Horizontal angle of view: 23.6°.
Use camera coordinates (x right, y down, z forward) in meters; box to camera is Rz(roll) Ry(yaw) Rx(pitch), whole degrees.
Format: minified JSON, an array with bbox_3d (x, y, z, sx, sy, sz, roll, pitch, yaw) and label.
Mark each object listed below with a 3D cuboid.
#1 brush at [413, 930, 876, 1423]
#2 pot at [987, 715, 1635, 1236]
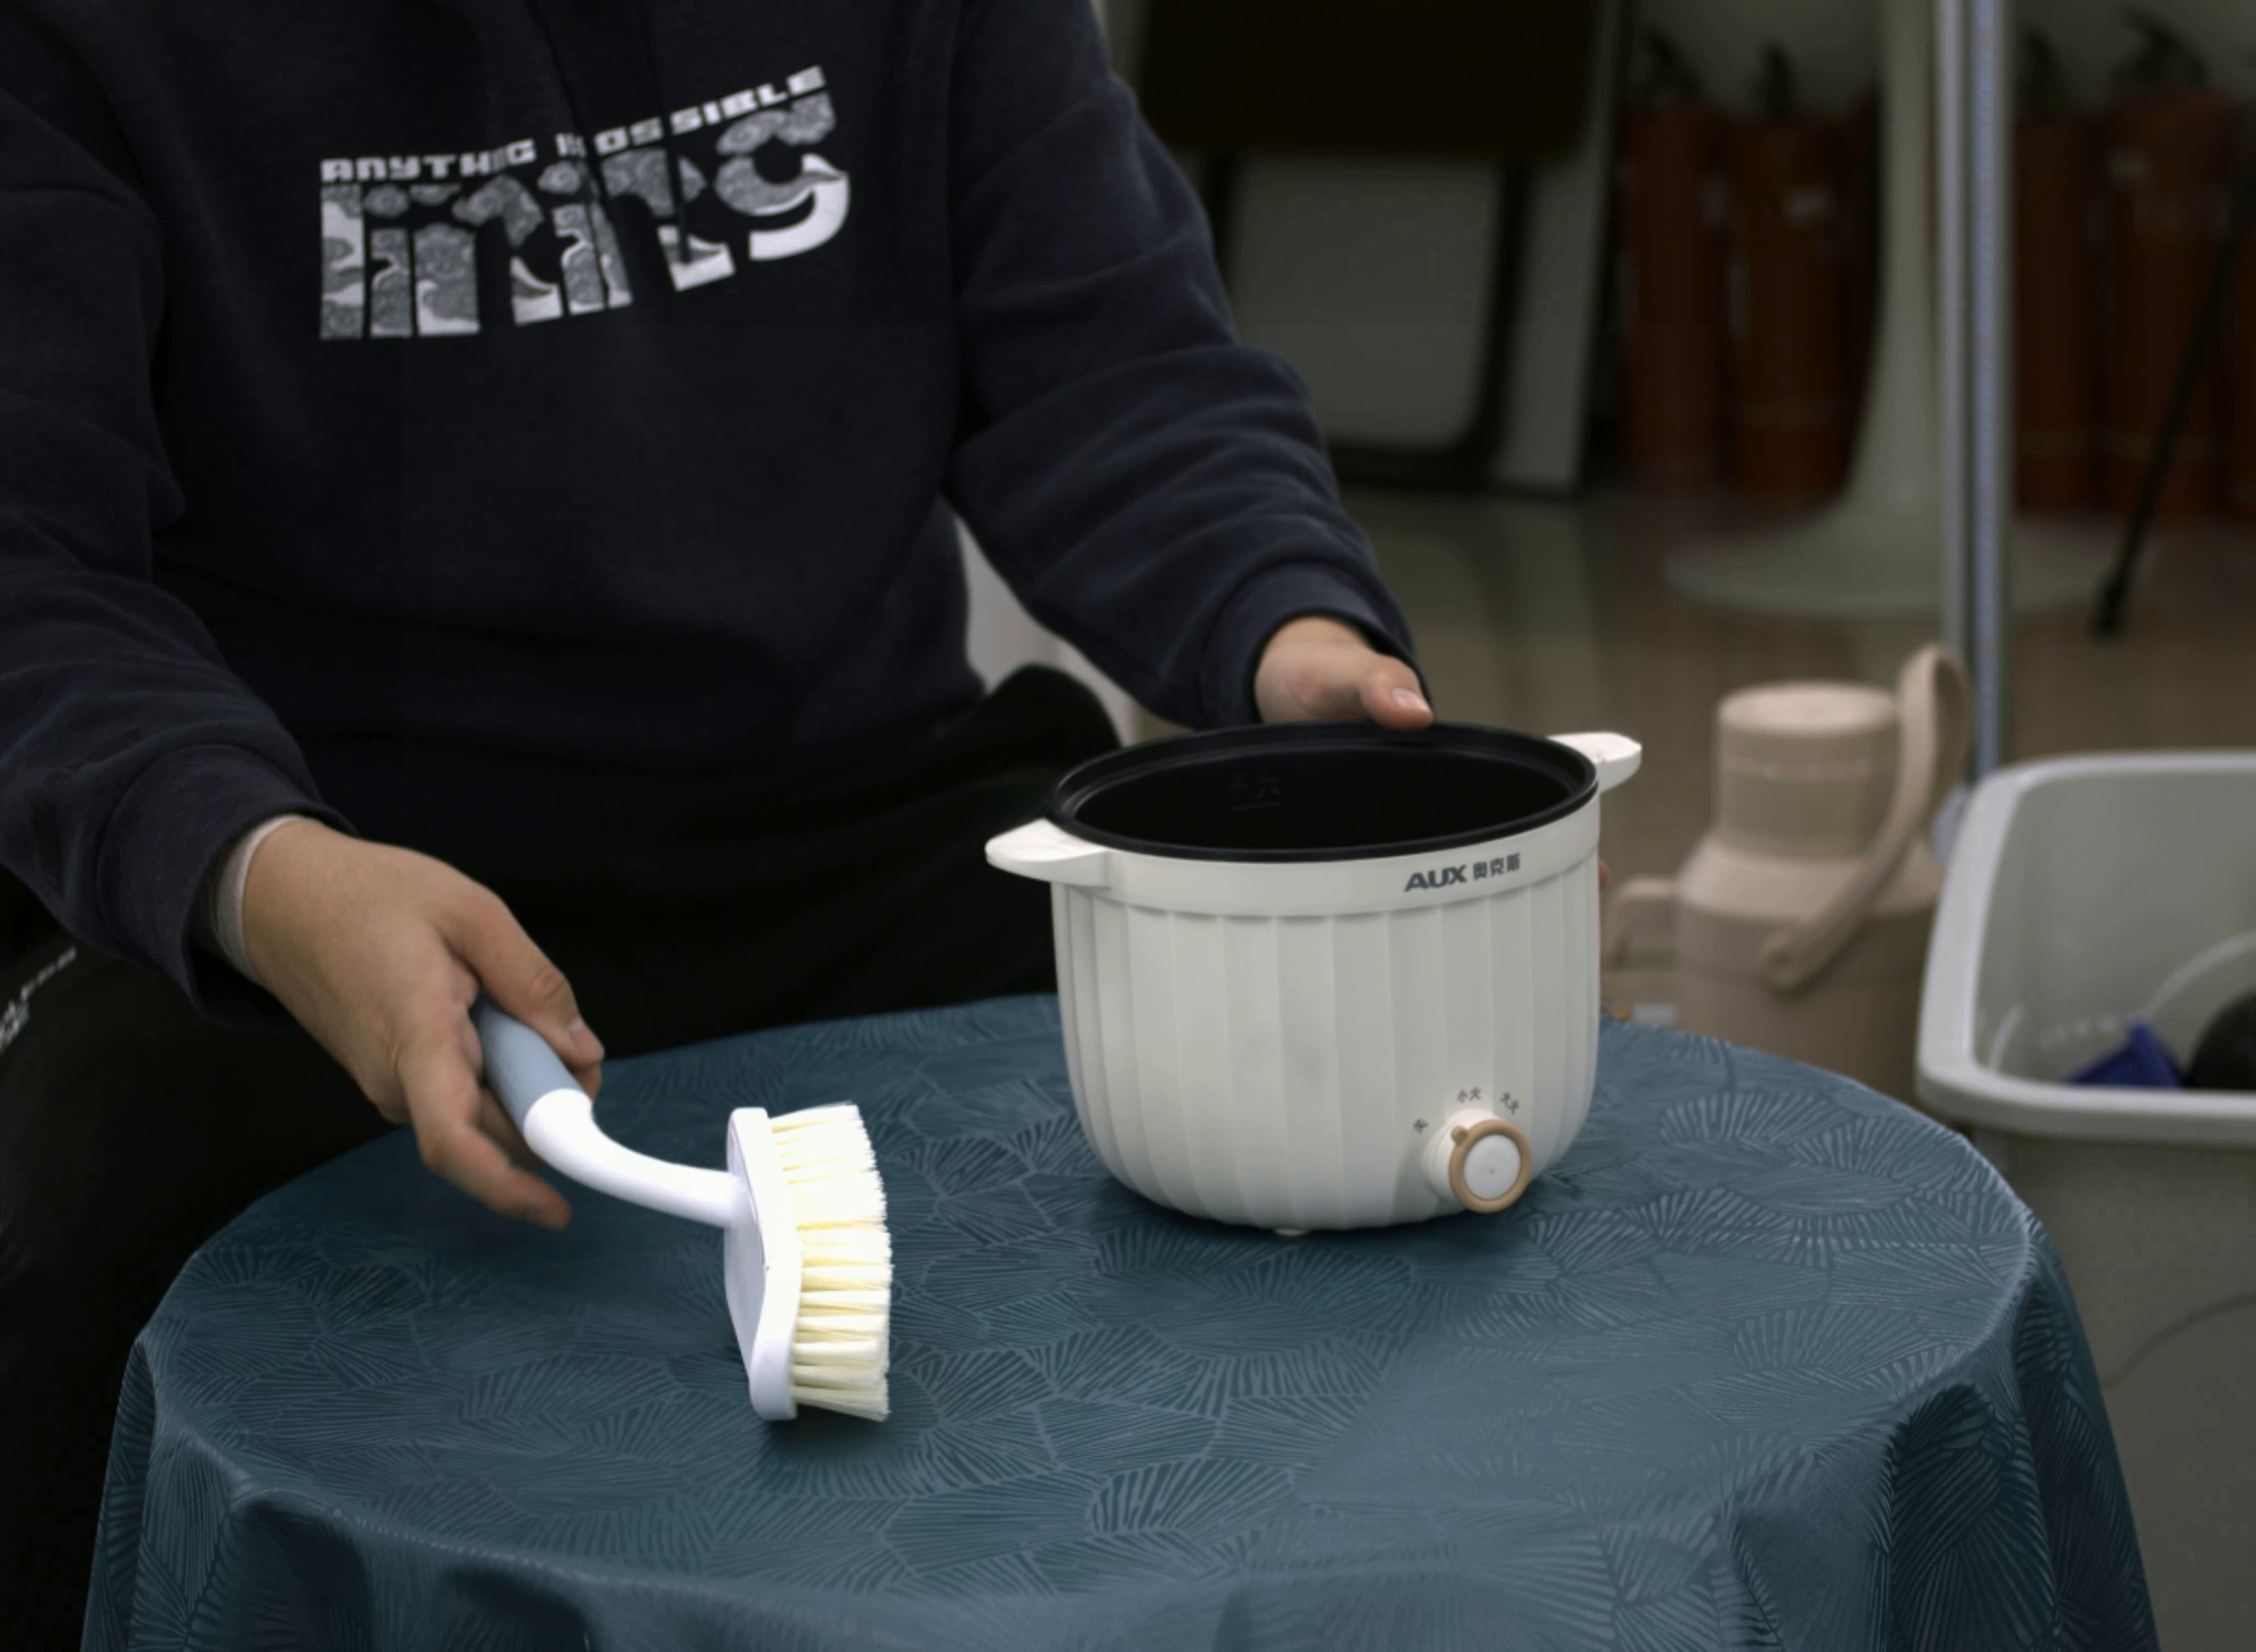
[{"bbox_3d":[-0.134,0.095,1.688,0.083,0.083,0.329,34,5,-31],"label":"brush"},{"bbox_3d":[0.069,0.050,1.753,0.235,0.144,0.192,-11,12,-25],"label":"pot"}]
